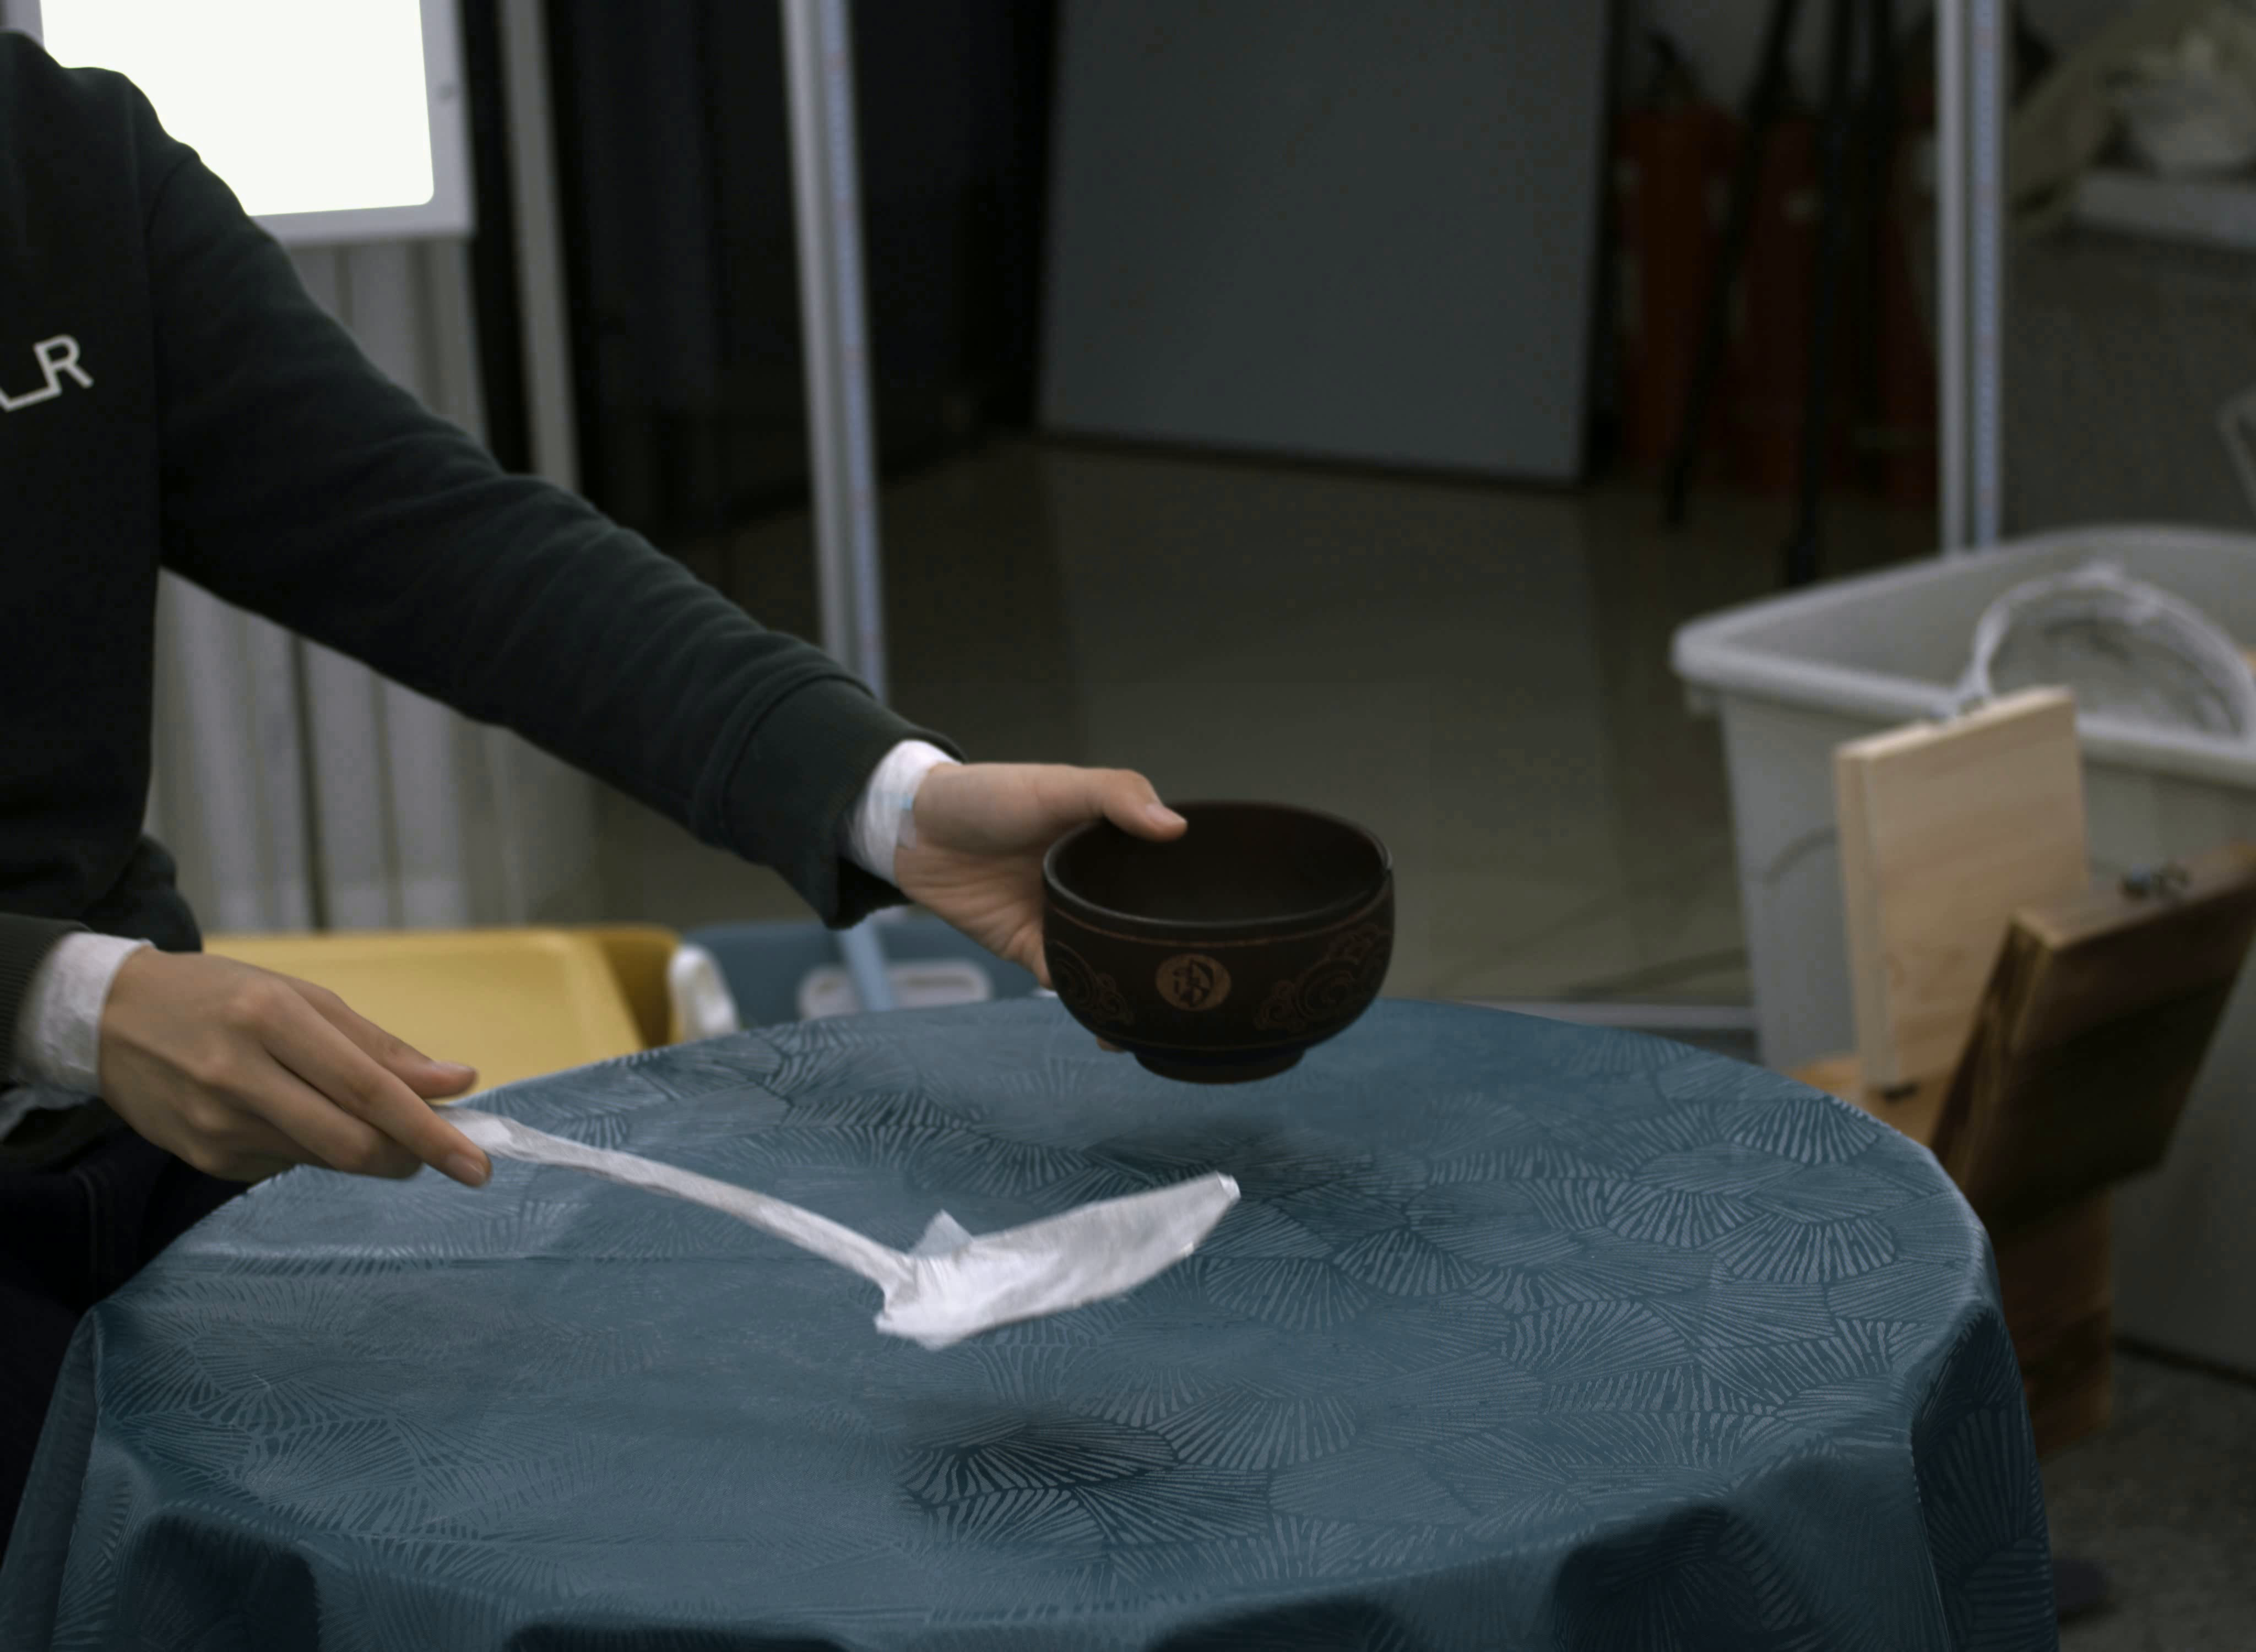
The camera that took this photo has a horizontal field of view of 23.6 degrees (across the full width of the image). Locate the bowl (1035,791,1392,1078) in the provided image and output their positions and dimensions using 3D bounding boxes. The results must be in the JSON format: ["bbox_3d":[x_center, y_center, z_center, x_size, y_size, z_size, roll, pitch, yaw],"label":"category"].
[{"bbox_3d":[0.028,0.040,1.763,0.116,0.070,0.118,-2,19,0],"label":"bowl"}]

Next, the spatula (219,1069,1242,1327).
[{"bbox_3d":[-0.135,0.098,1.603,0.366,0.045,0.097,12,27,29],"label":"spatula"}]
